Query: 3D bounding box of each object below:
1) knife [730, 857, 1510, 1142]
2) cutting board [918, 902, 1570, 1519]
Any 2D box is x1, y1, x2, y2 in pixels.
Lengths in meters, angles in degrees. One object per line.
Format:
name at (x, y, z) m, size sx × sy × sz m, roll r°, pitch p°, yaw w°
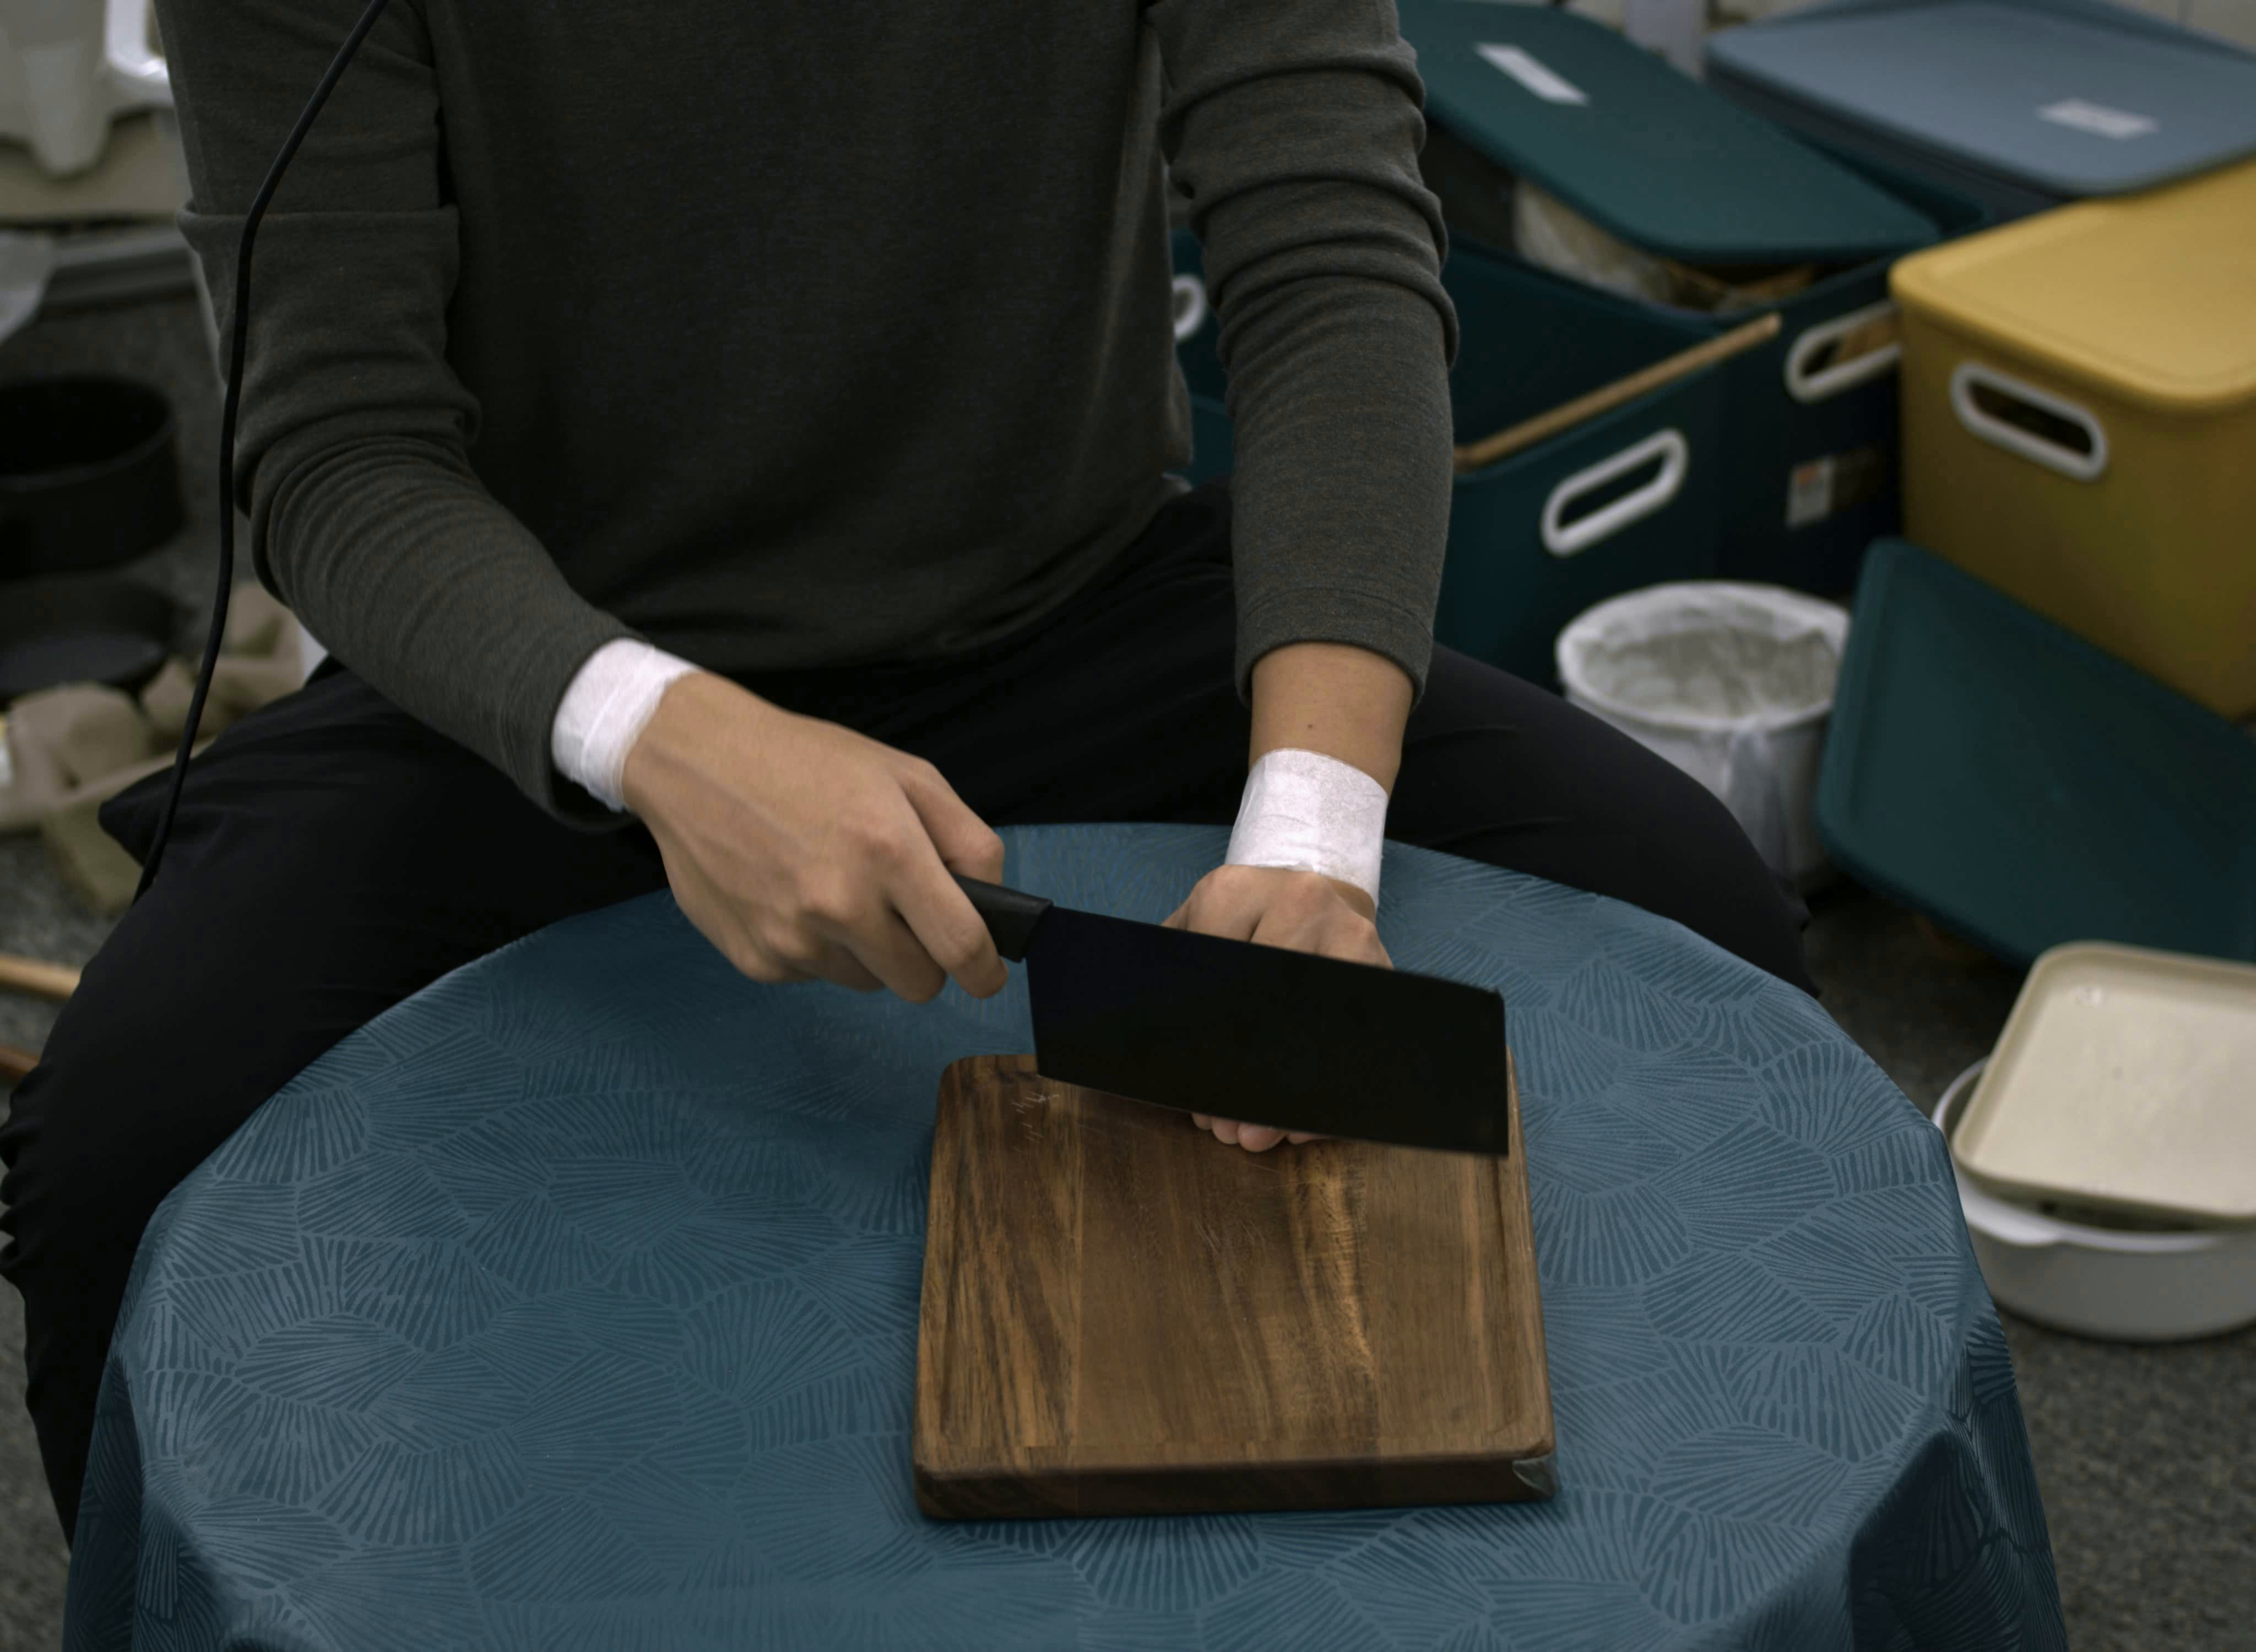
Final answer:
knife at (-0.007, 0.054, 1.858) m, size 0.300 × 0.080 × 0.021 m, roll 12°, pitch 26°, yaw 30°
cutting board at (0.034, 0.117, 1.843) m, size 0.200 × 0.023 × 0.357 m, roll -2°, pitch 27°, yaw 1°
